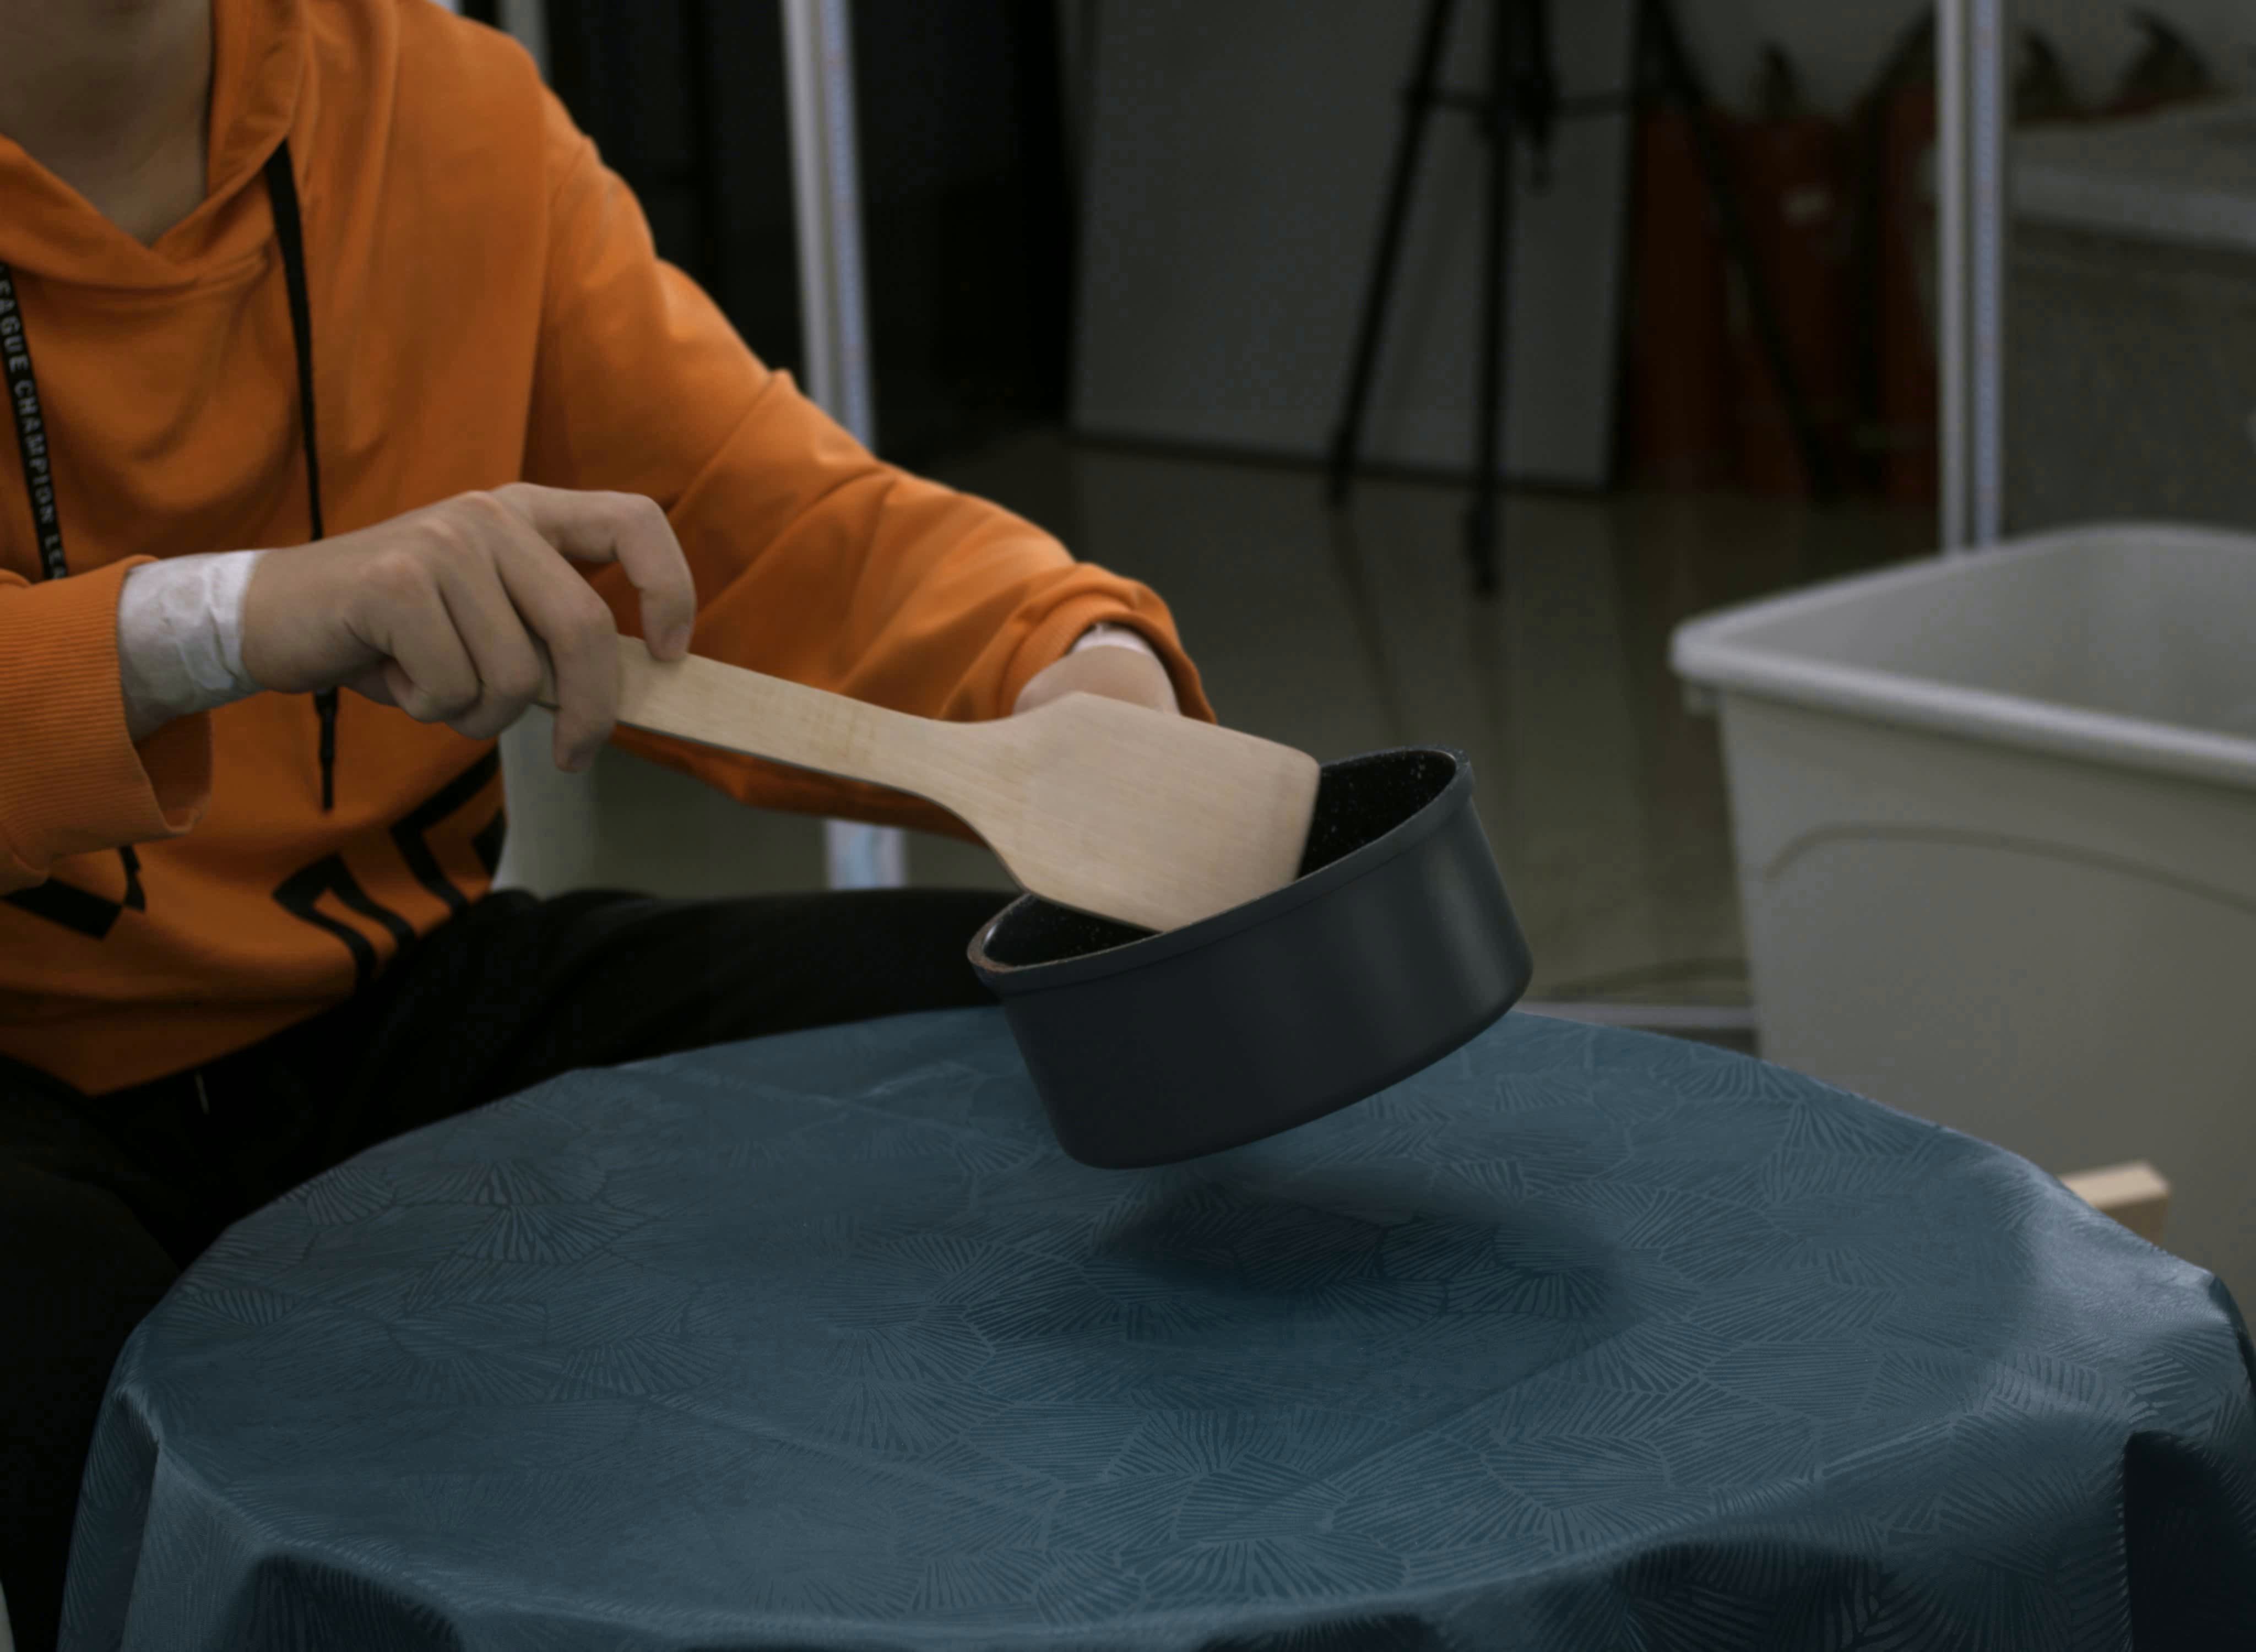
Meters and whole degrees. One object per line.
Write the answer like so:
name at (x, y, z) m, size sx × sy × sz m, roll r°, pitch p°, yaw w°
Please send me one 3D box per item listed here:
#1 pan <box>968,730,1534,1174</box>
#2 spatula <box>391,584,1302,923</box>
pan at (0.023, 0.030, 1.777) m, size 0.170 × 0.087 × 0.330 m, roll -23°, pitch 11°, yaw -8°
spatula at (-0.090, -0.031, 1.700) m, size 0.290 × 0.073 × 0.010 m, roll 14°, pitch -9°, yaw 1°
